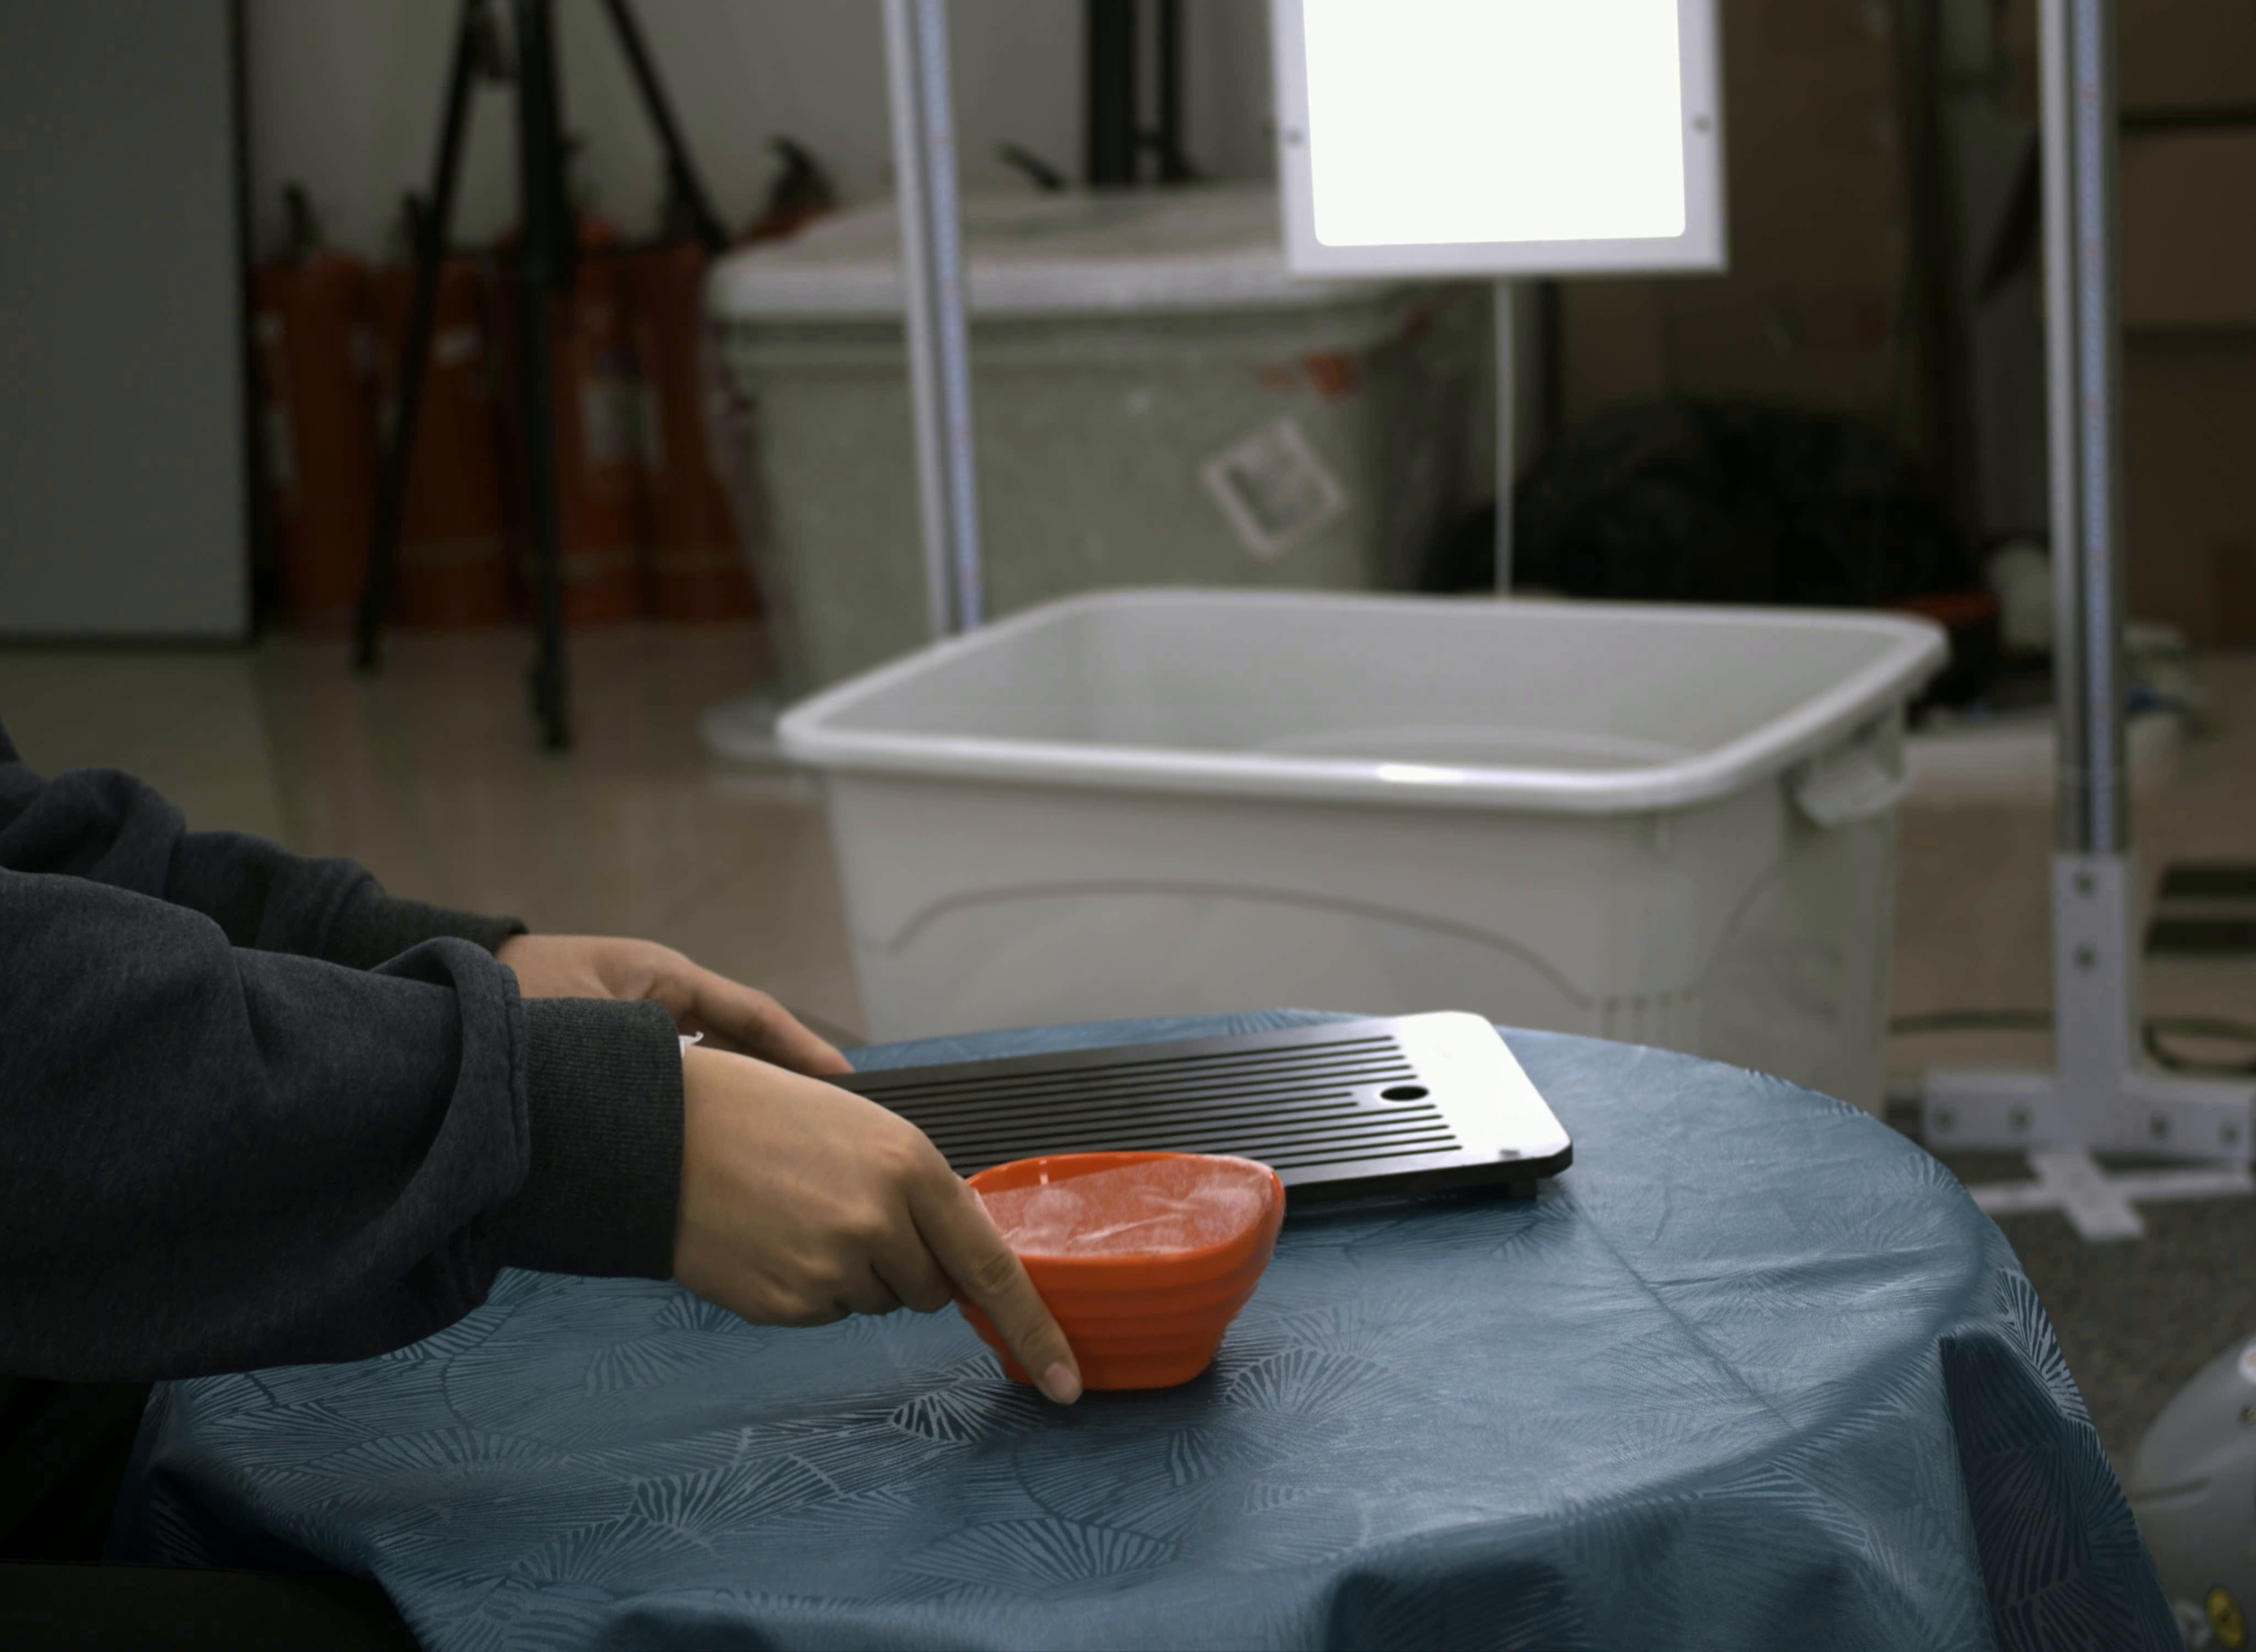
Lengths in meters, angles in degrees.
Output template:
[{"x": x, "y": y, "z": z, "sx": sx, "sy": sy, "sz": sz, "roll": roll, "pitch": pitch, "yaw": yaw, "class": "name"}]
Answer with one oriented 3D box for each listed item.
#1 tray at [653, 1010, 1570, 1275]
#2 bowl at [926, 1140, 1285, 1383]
[{"x": -0.009, "y": 0.110, "z": 1.917, "sx": 0.304, "sy": 0.019, "sz": 0.170, "roll": -6, "pitch": 16, "yaw": -5, "class": "tray"}, {"x": -0.006, "y": 0.138, "z": 1.715, "sx": 0.118, "sy": 0.051, "sz": 0.119, "roll": -4, "pitch": 15, "yaw": 0, "class": "bowl"}]
